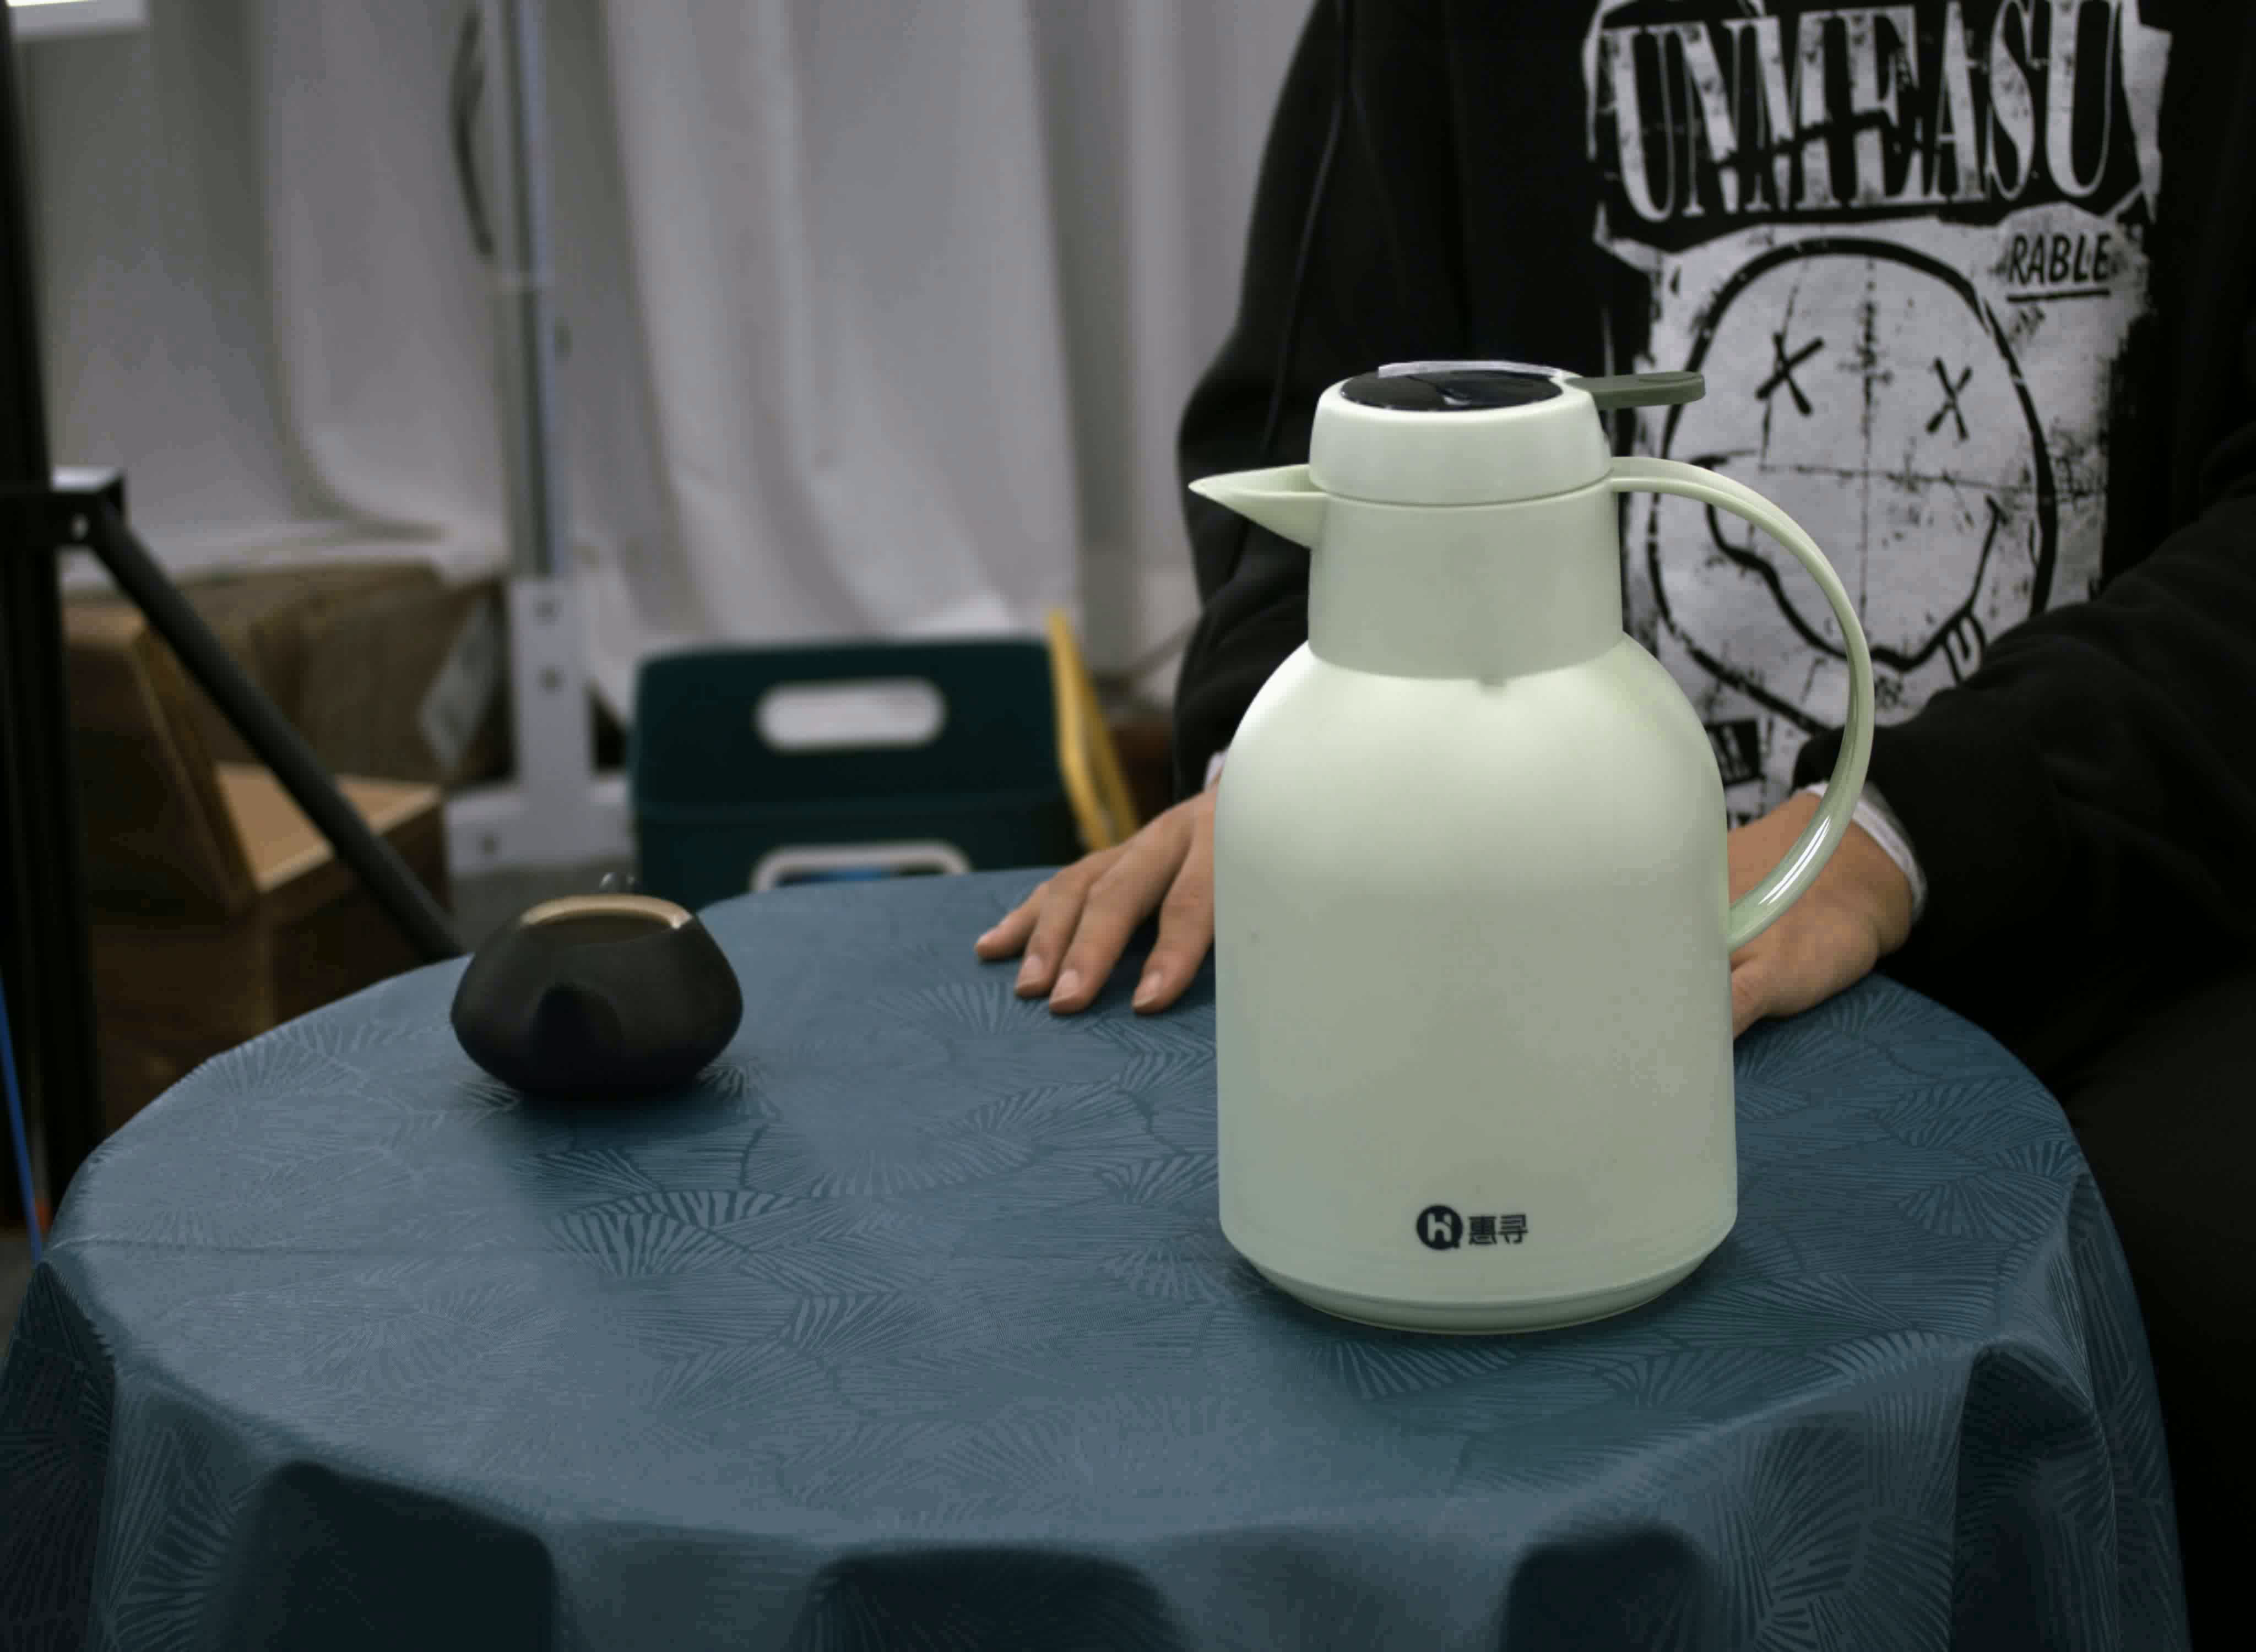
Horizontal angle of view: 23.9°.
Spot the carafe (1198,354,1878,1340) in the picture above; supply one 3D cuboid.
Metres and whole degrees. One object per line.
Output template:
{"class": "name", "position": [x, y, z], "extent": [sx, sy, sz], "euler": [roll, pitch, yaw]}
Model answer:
{"class": "carafe", "position": [0.108, 0.002, 1.452], "extent": [0.186, 0.257, 0.144], "euler": [2, 14, 1]}

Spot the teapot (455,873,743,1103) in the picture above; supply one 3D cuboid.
{"class": "teapot", "position": [-0.166, 0.054, 1.676], "extent": [0.091, 0.053, 0.133], "euler": [1, 16, 5]}
